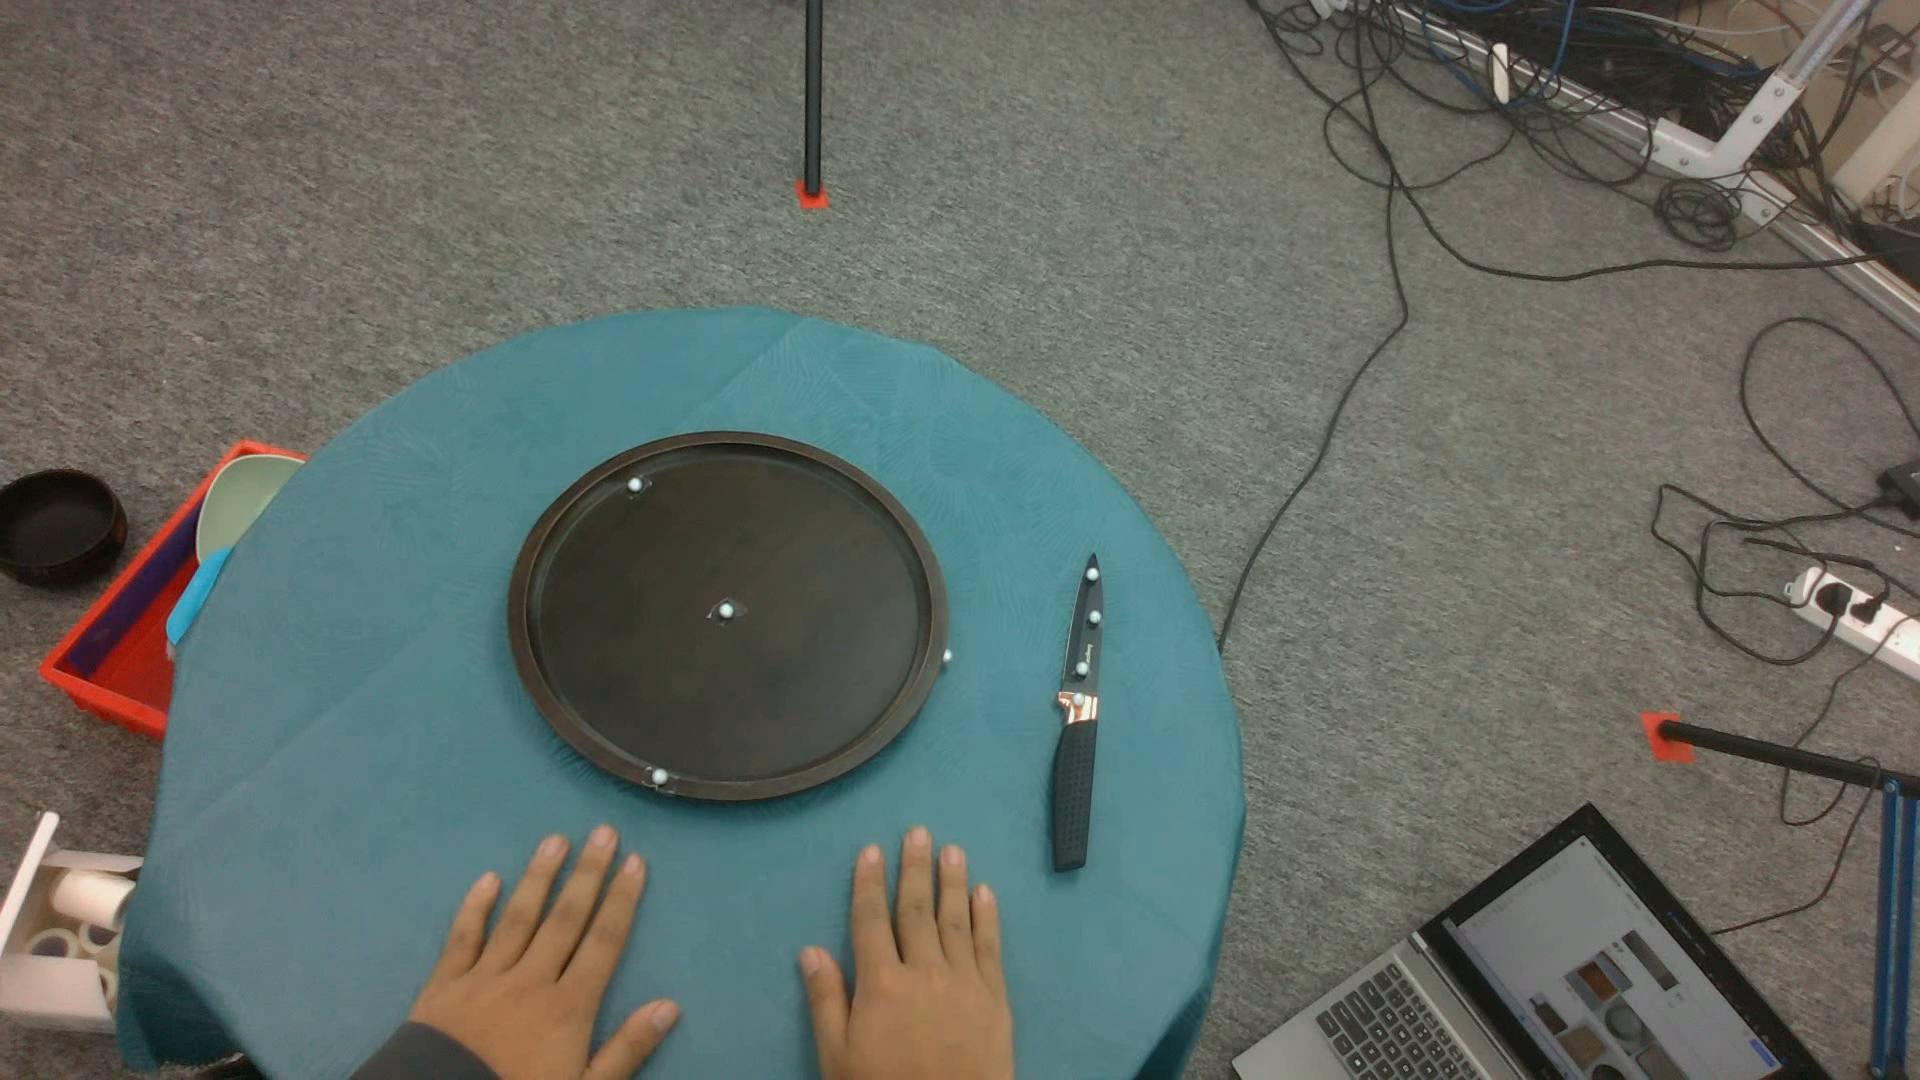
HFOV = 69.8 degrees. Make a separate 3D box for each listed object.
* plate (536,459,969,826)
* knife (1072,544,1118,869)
[{"bbox_3d":[-0.121,0.054,0.824,0.255,0.029,0.256,5,55,-7],"label":"plate"},{"bbox_3d":[0.083,0.093,0.838,0.026,0.017,0.226,6,53,2],"label":"knife"}]
